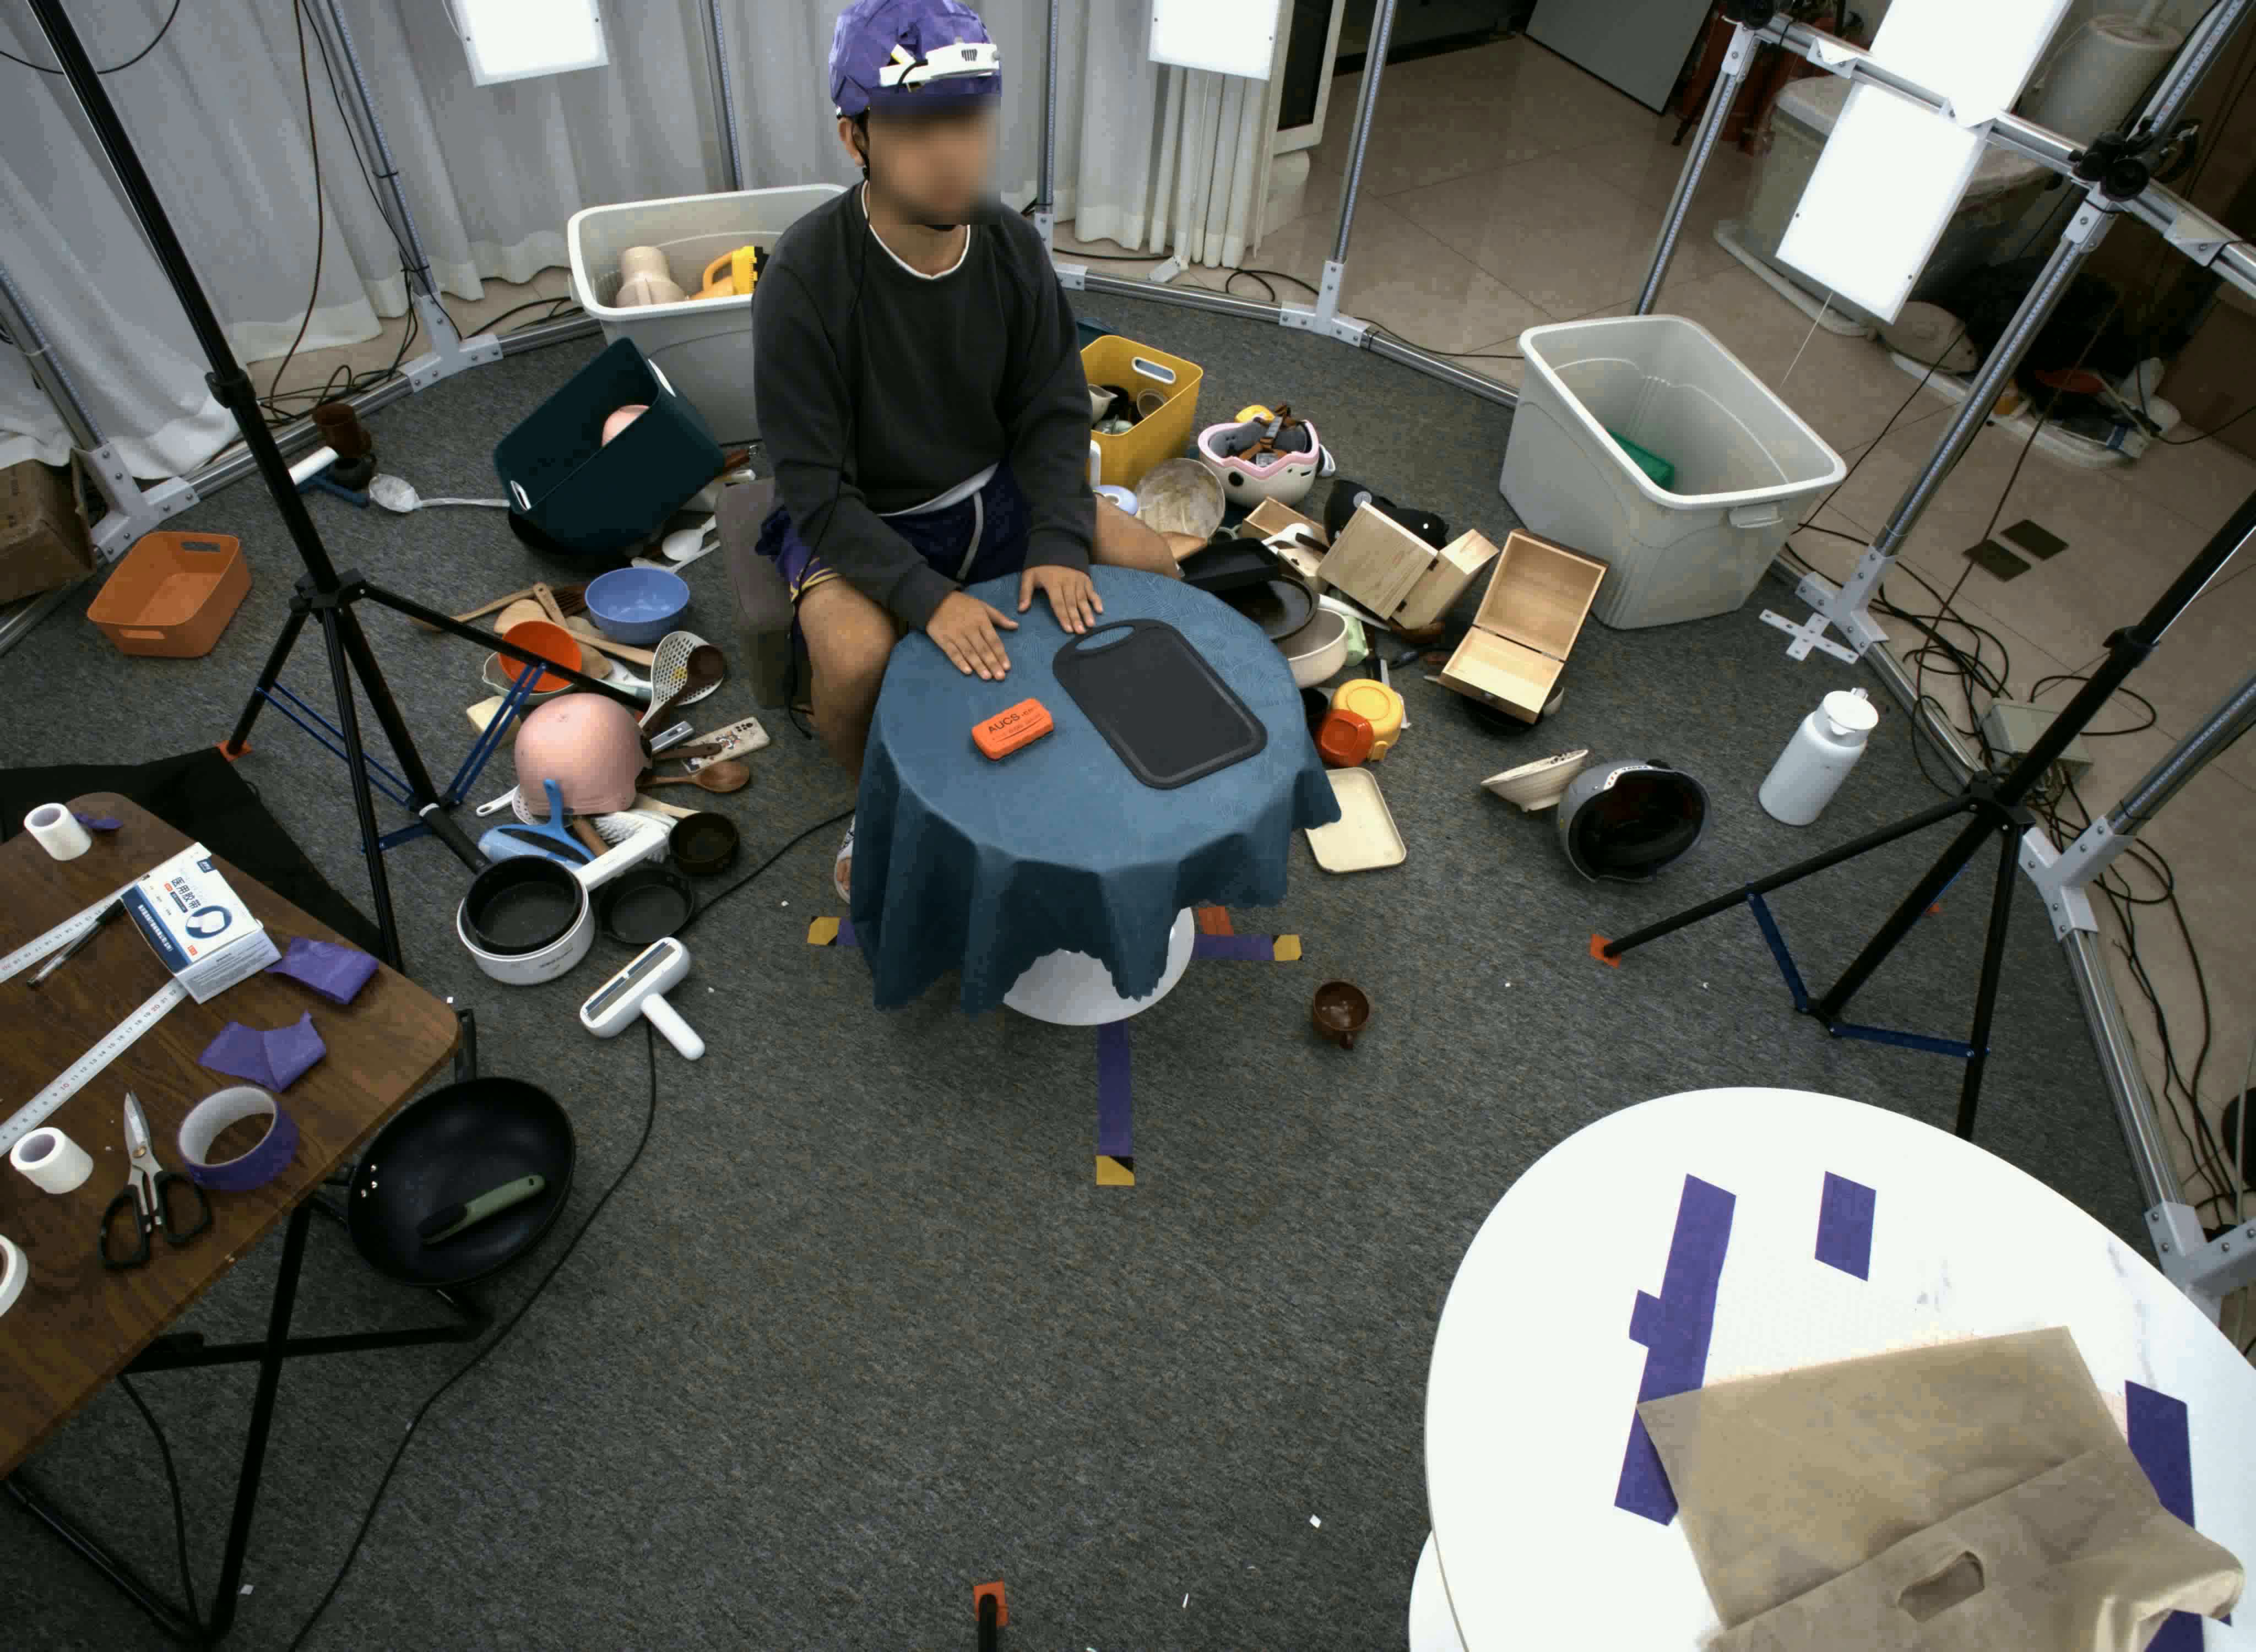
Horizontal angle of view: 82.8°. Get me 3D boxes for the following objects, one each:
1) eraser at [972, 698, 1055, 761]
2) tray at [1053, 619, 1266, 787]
[{"bbox_3d":[-0.156,-0.133,1.752,0.109,0.022,0.060,-30,58,-28],"label":"eraser"},{"bbox_3d":[0.037,-0.187,1.827,0.212,0.009,0.332,-22,54,-22],"label":"tray"}]
